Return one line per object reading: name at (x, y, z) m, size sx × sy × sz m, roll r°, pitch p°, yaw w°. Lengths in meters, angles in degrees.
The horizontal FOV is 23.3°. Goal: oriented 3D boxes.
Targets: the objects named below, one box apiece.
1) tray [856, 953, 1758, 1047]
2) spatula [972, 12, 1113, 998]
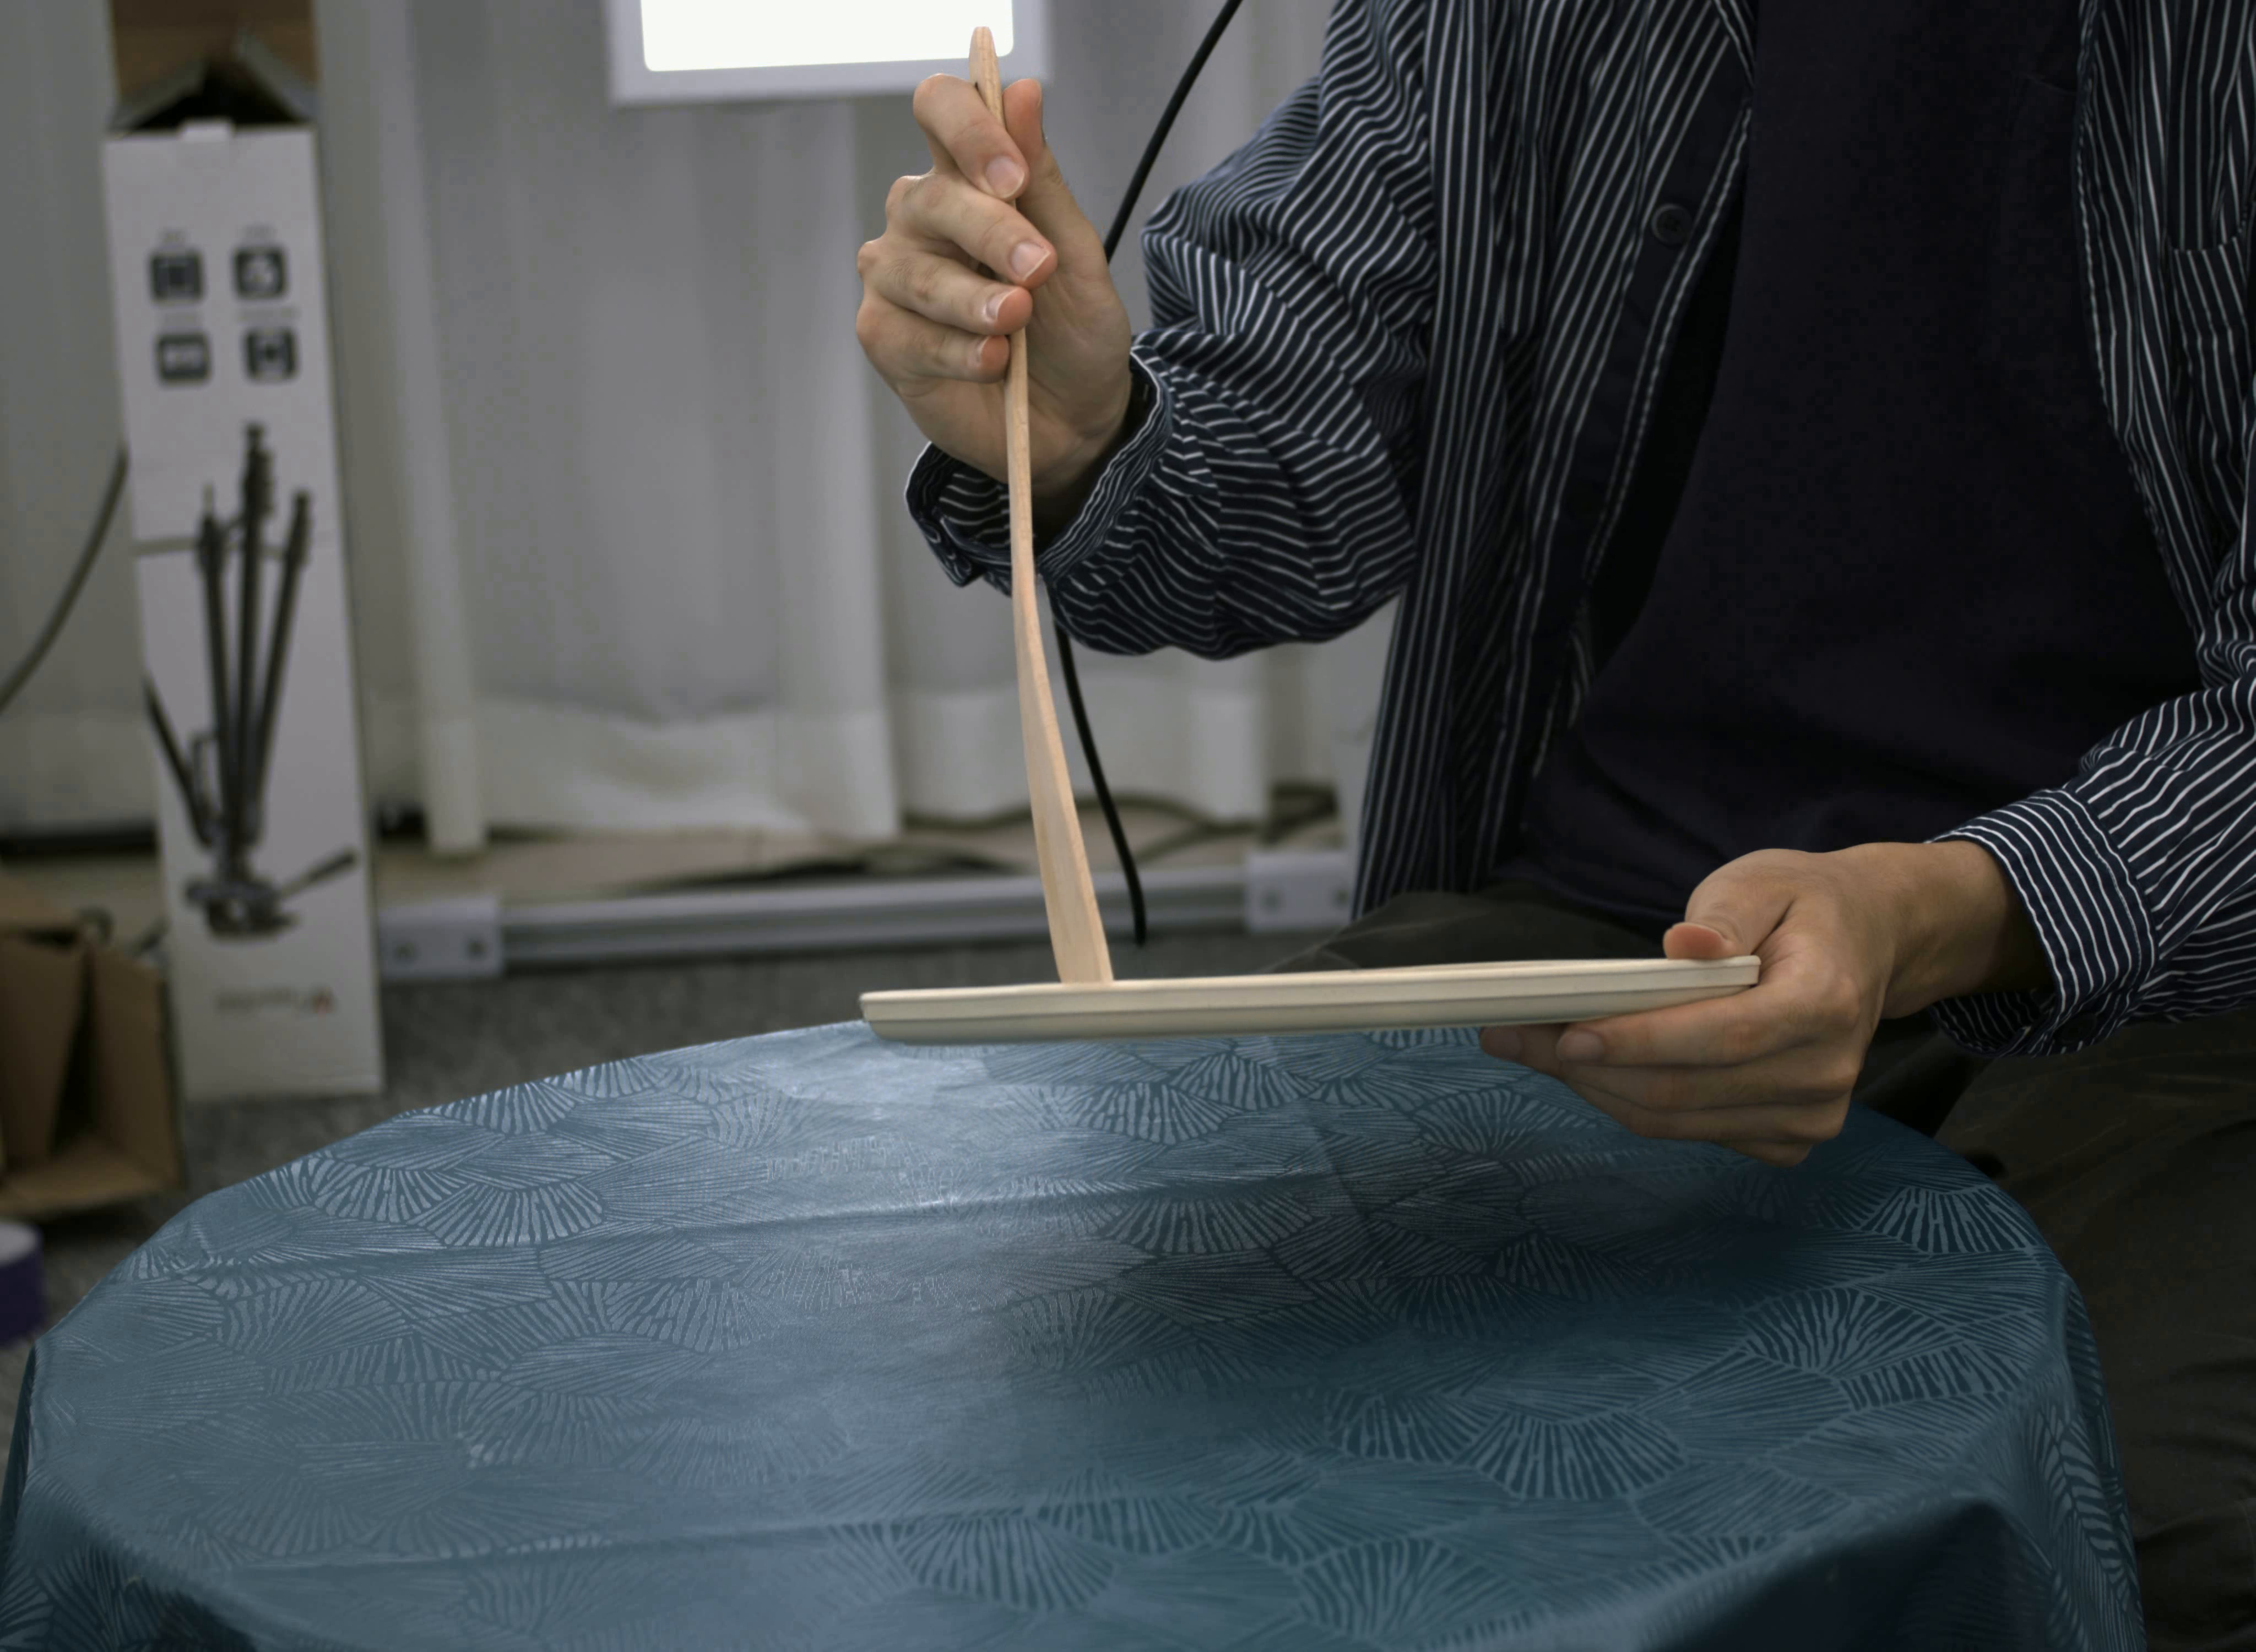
tray at (0.052, 0.052, 1.615) m, size 0.238 × 0.017 × 0.171 m, roll -2°, pitch -1°, yaw -25°
spatula at (-0.029, -0.096, 1.650) m, size 0.016 × 0.331 × 0.079 m, roll -1°, pitch -20°, yaw -8°
